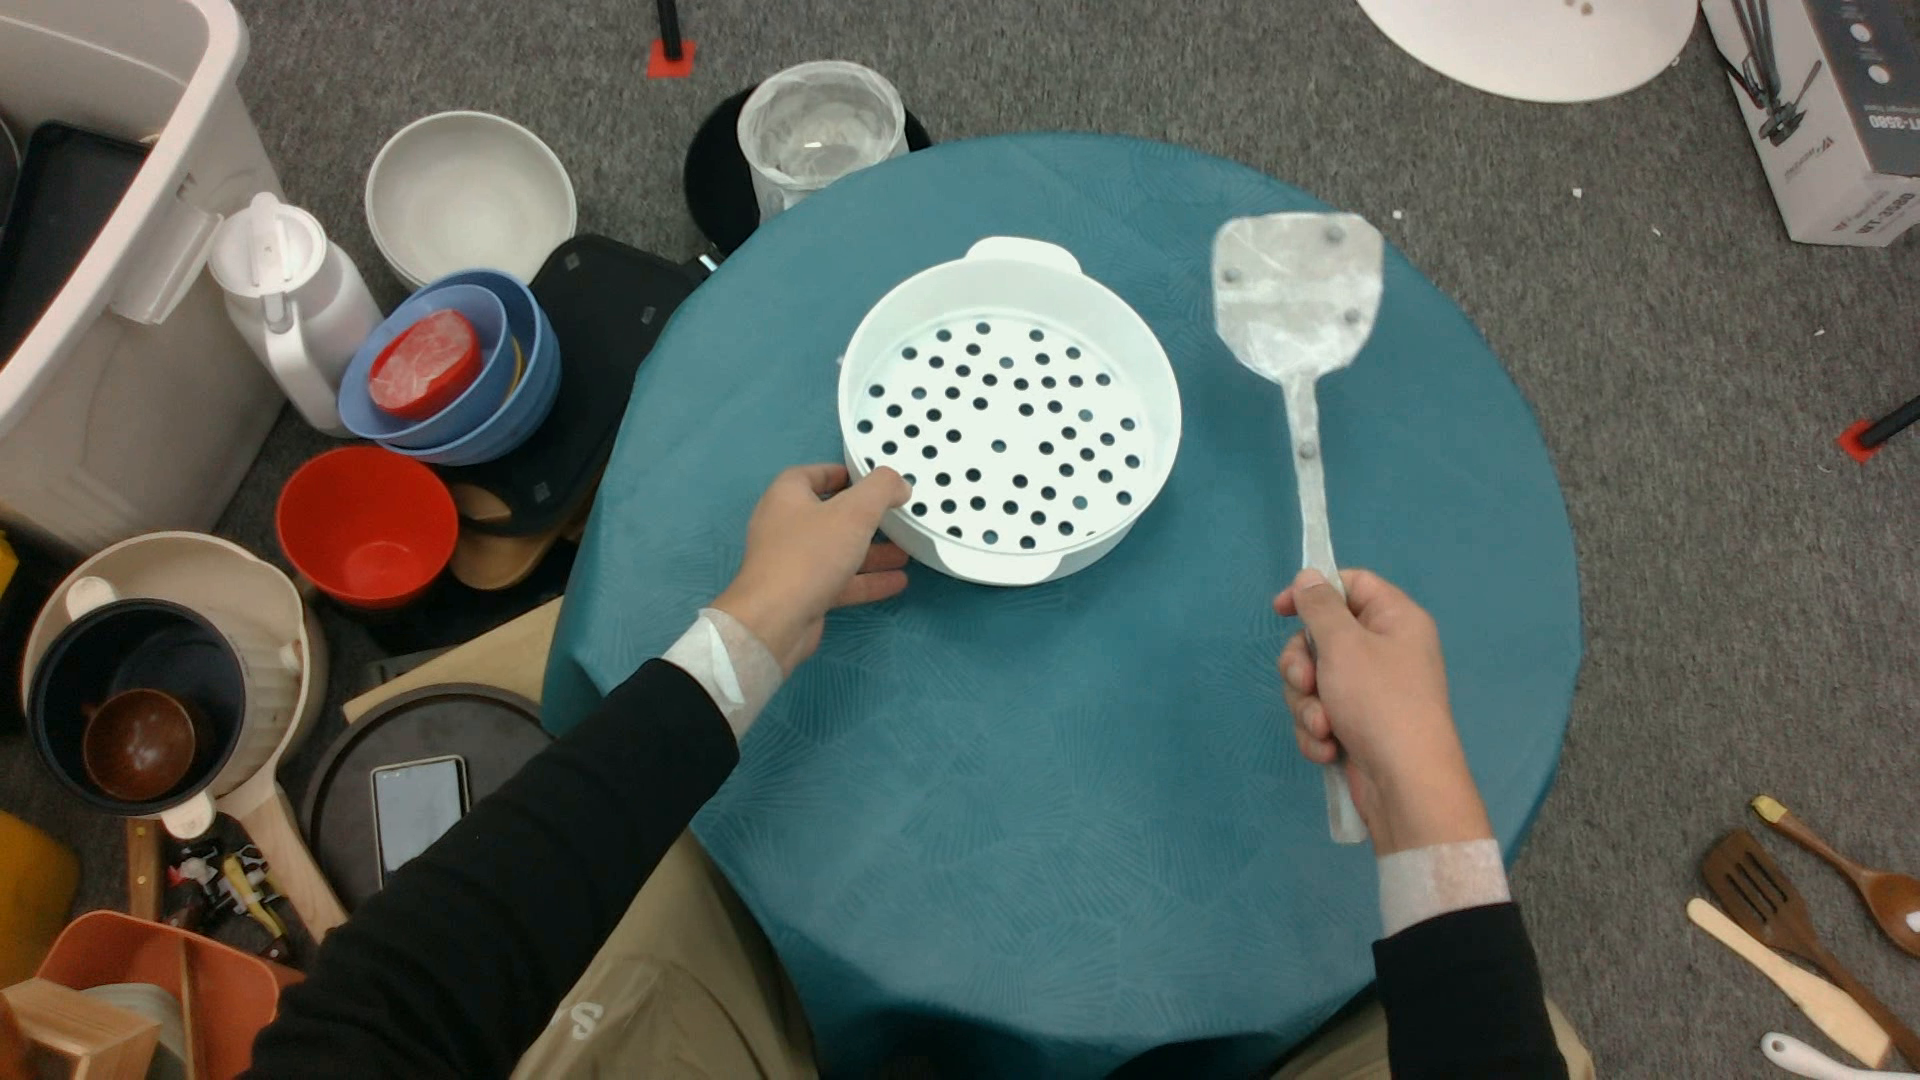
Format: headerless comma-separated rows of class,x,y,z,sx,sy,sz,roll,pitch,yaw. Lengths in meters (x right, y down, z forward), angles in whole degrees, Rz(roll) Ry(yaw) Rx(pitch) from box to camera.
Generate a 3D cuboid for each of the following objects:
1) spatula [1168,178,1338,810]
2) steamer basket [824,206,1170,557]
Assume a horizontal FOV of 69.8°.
spatula,0.171,-0.040,0.734,0.098,0.044,0.366,-2,62,2
steamer basket,0.020,-0.088,0.822,0.202,0.069,0.231,7,66,-3
